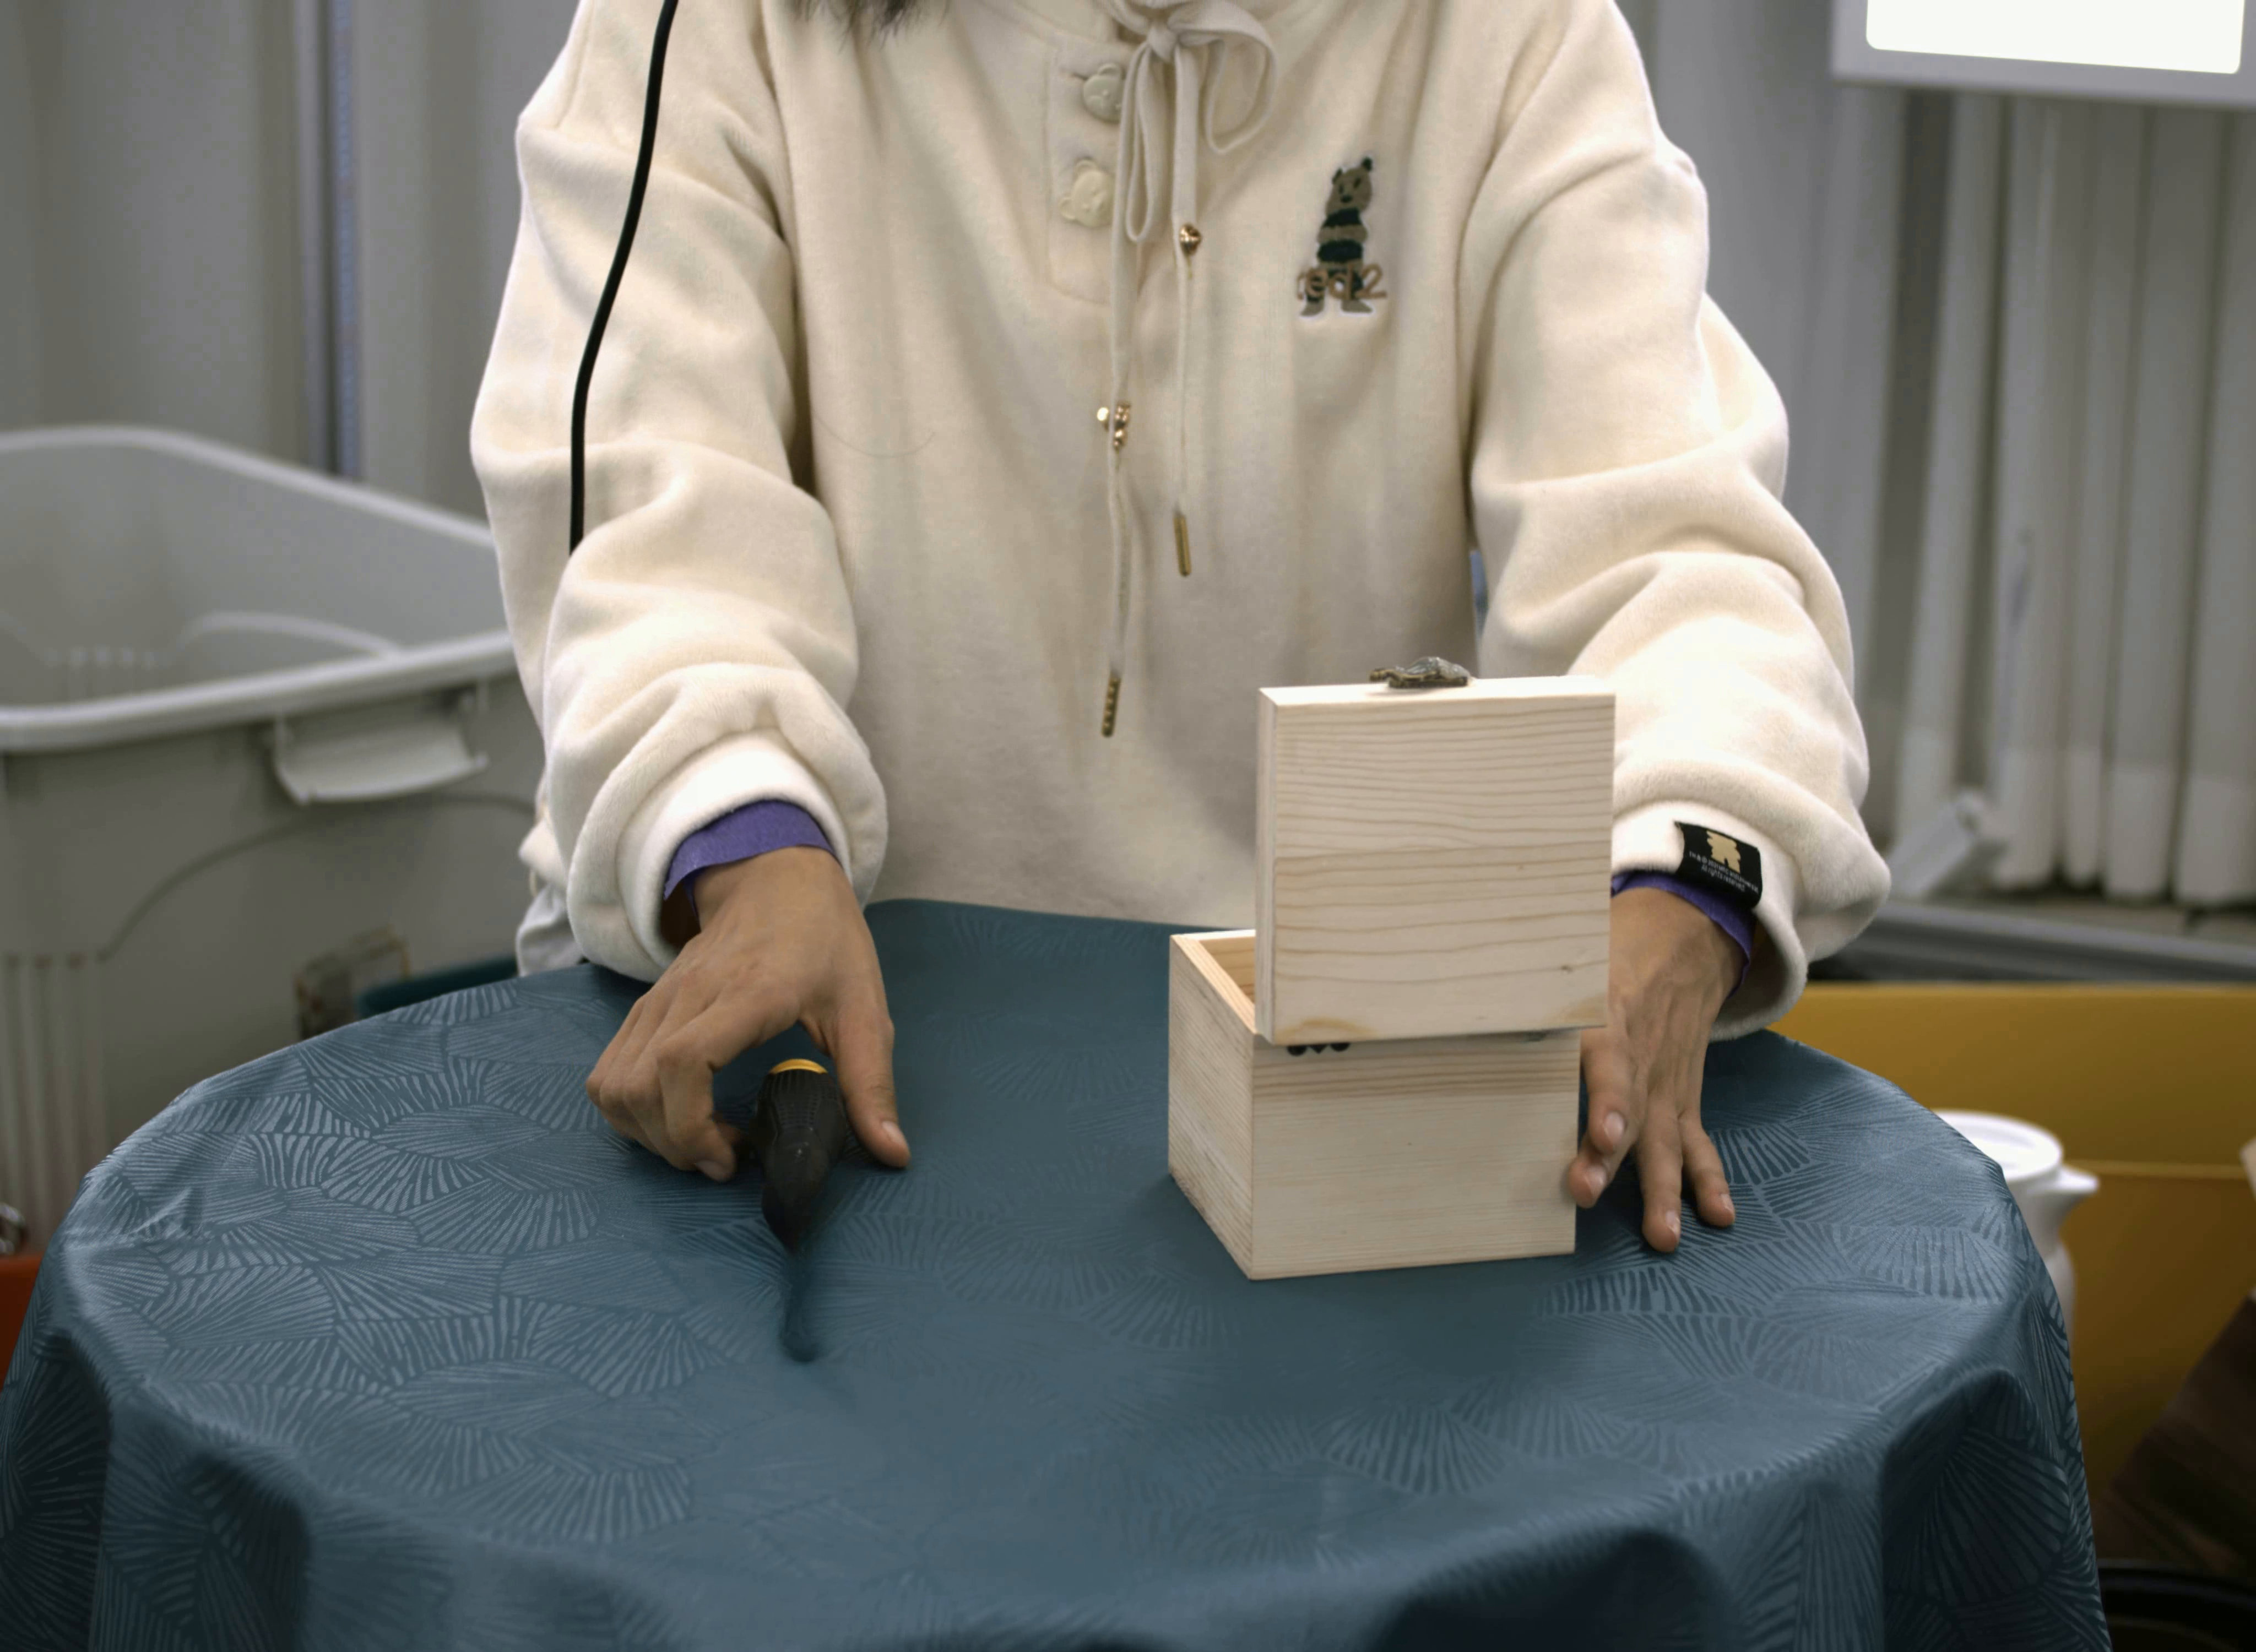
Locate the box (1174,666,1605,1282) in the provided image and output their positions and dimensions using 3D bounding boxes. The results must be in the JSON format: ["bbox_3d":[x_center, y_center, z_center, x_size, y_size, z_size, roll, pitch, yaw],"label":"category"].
[{"bbox_3d":[0.075,0.032,1.568,0.102,0.186,0.132,-5,18,-12],"label":"box"}]

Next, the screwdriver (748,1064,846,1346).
[{"bbox_3d":[-0.102,0.114,1.570,0.031,0.032,0.196,1,18,-1],"label":"screwdriver"}]
